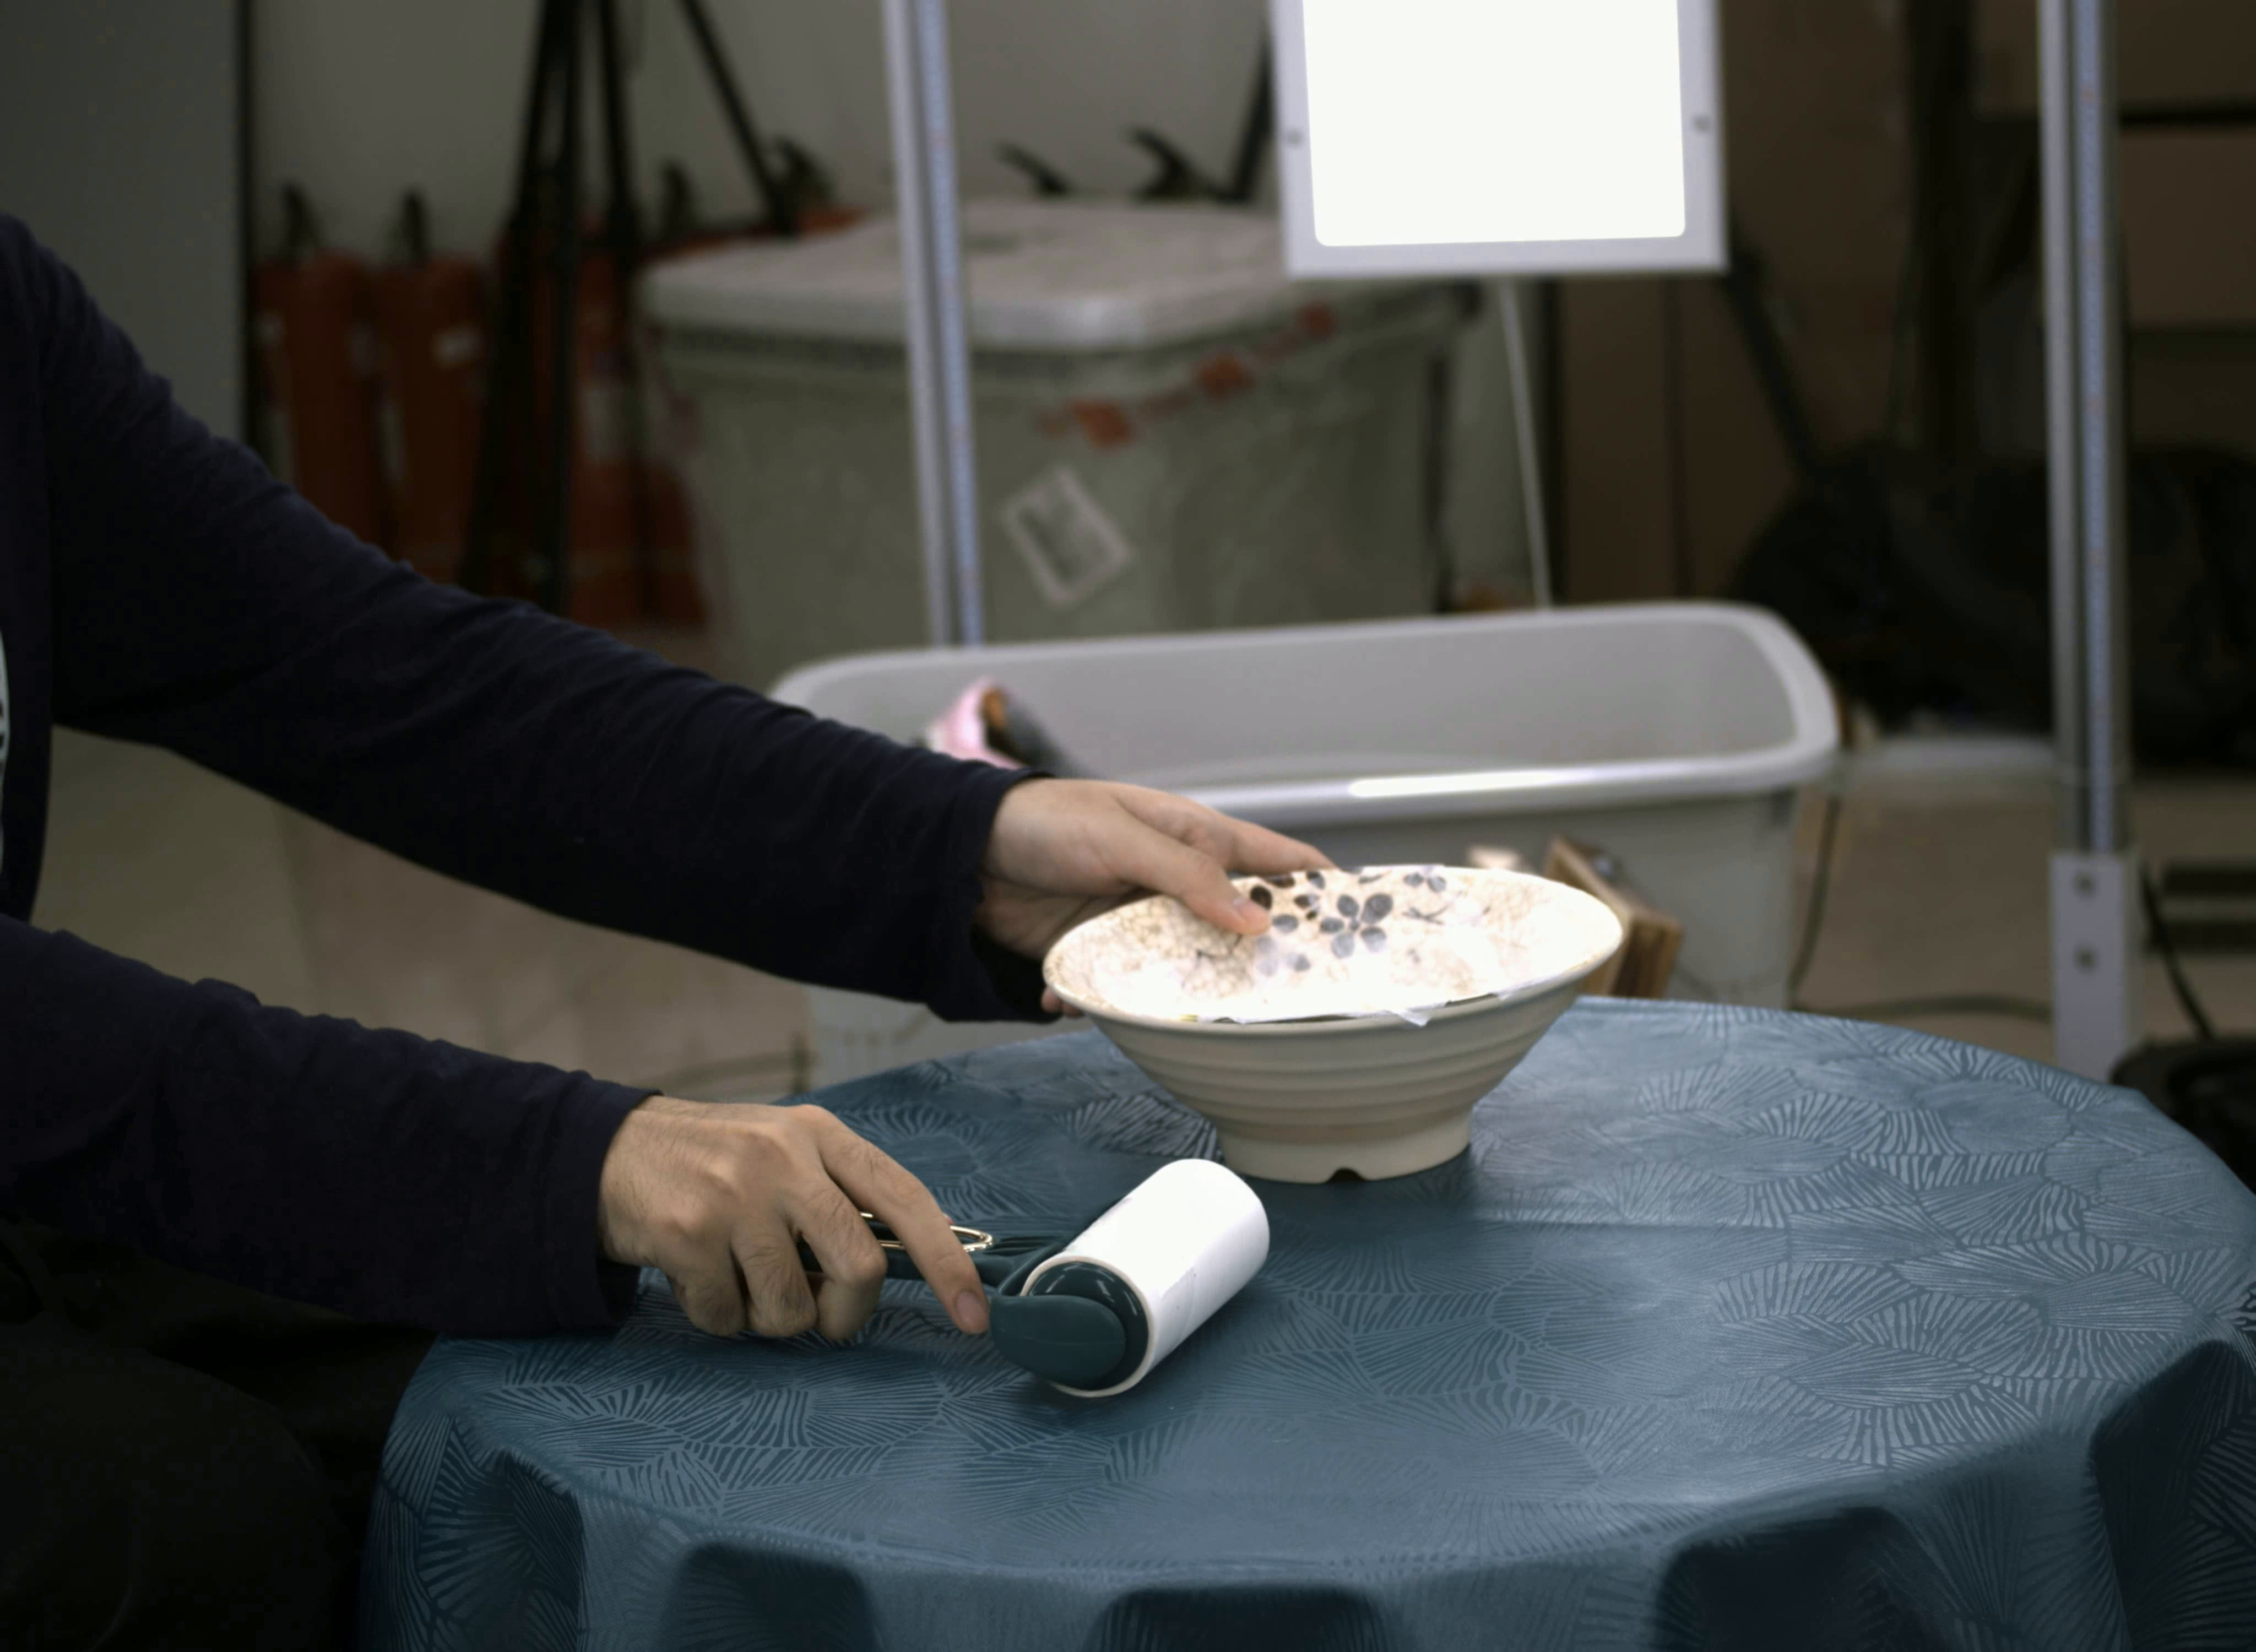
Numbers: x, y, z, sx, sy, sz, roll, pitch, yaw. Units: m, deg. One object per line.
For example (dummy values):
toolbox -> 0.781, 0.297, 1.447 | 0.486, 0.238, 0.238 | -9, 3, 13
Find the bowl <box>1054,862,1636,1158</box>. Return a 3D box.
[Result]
bowl -> 0.077, 0.068, 1.922 | 0.203, 0.078, 0.204 | -3, 11, -1

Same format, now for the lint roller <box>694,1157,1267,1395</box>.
lint roller -> -0.057, 0.133, 1.765 | 0.182, 0.048, 0.132 | 7, 17, 22
